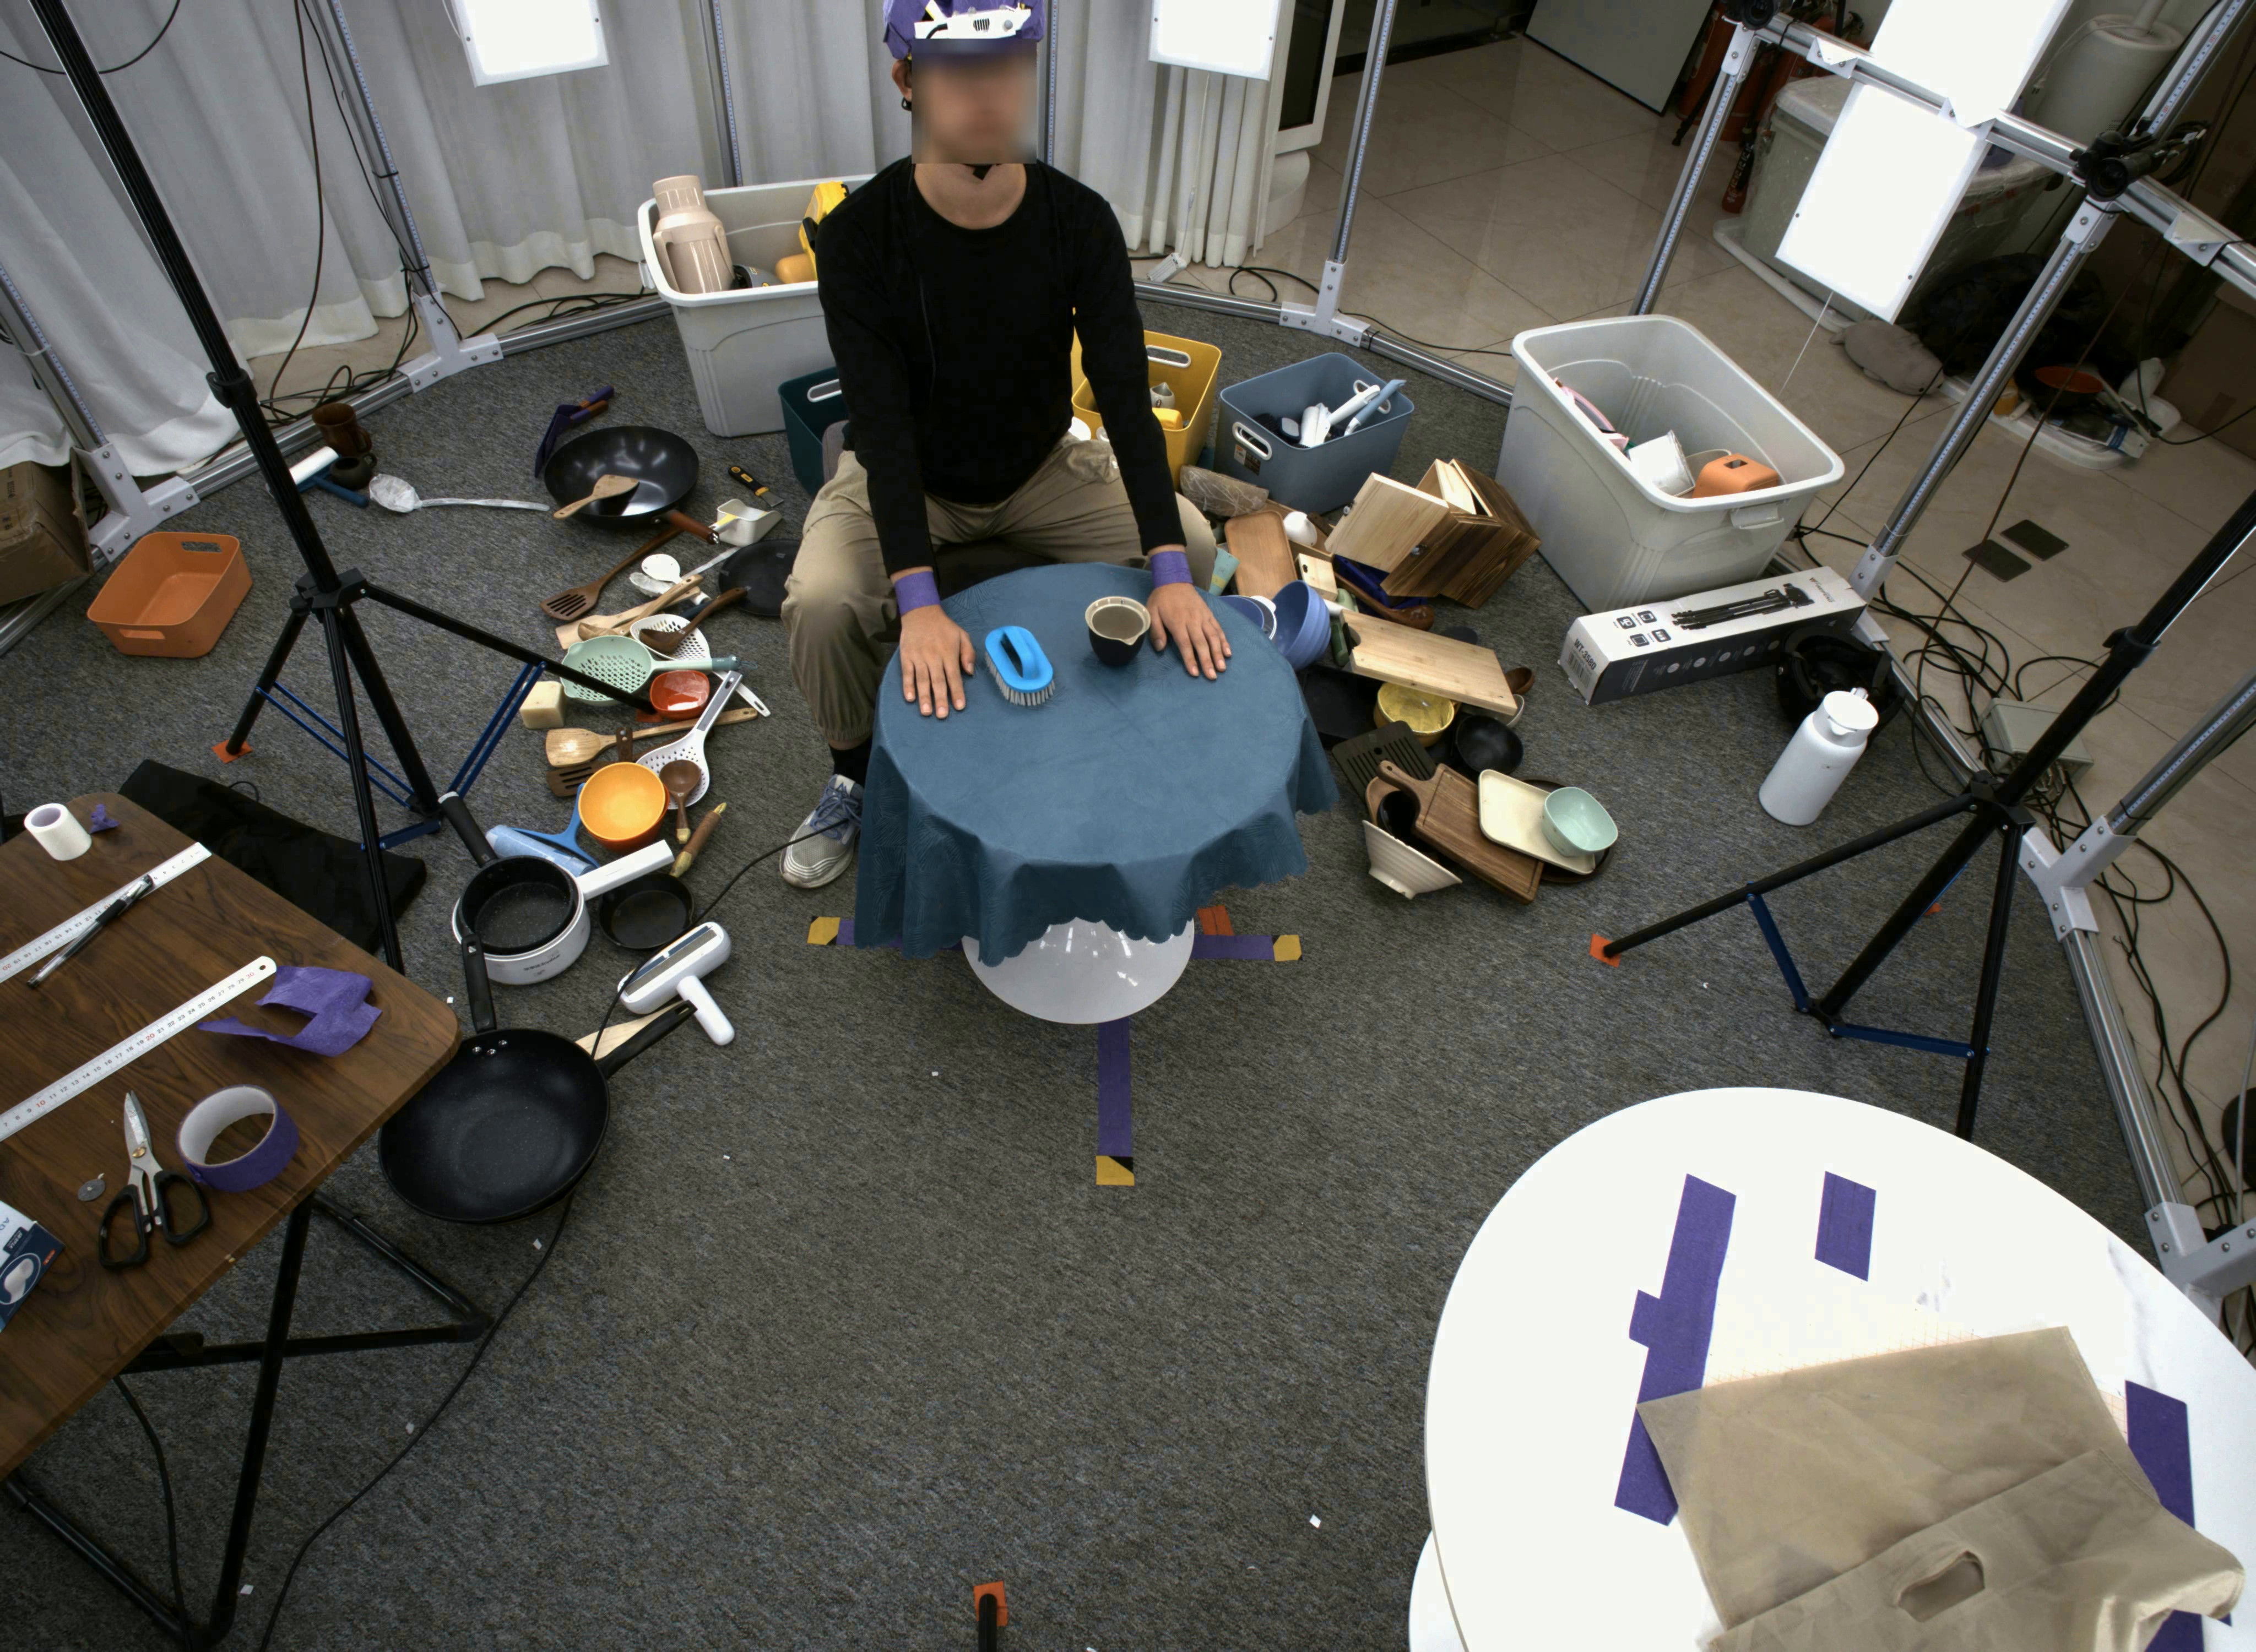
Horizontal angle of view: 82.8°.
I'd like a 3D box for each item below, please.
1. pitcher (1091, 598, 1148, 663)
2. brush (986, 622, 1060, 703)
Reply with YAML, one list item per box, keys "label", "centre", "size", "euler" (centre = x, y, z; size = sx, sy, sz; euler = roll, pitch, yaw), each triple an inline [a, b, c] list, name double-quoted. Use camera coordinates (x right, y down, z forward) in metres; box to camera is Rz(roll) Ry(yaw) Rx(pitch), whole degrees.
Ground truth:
- label: "pitcher"
  centre: [-0.013, -0.276, 1.856]
  size: [0.083, 0.069, 0.098]
  euler: [-8, 51, -12]
- label: "brush"
  centre: [-0.152, -0.243, 1.824]
  size: [0.084, 0.062, 0.145]
  euler: [-19, 52, -14]
